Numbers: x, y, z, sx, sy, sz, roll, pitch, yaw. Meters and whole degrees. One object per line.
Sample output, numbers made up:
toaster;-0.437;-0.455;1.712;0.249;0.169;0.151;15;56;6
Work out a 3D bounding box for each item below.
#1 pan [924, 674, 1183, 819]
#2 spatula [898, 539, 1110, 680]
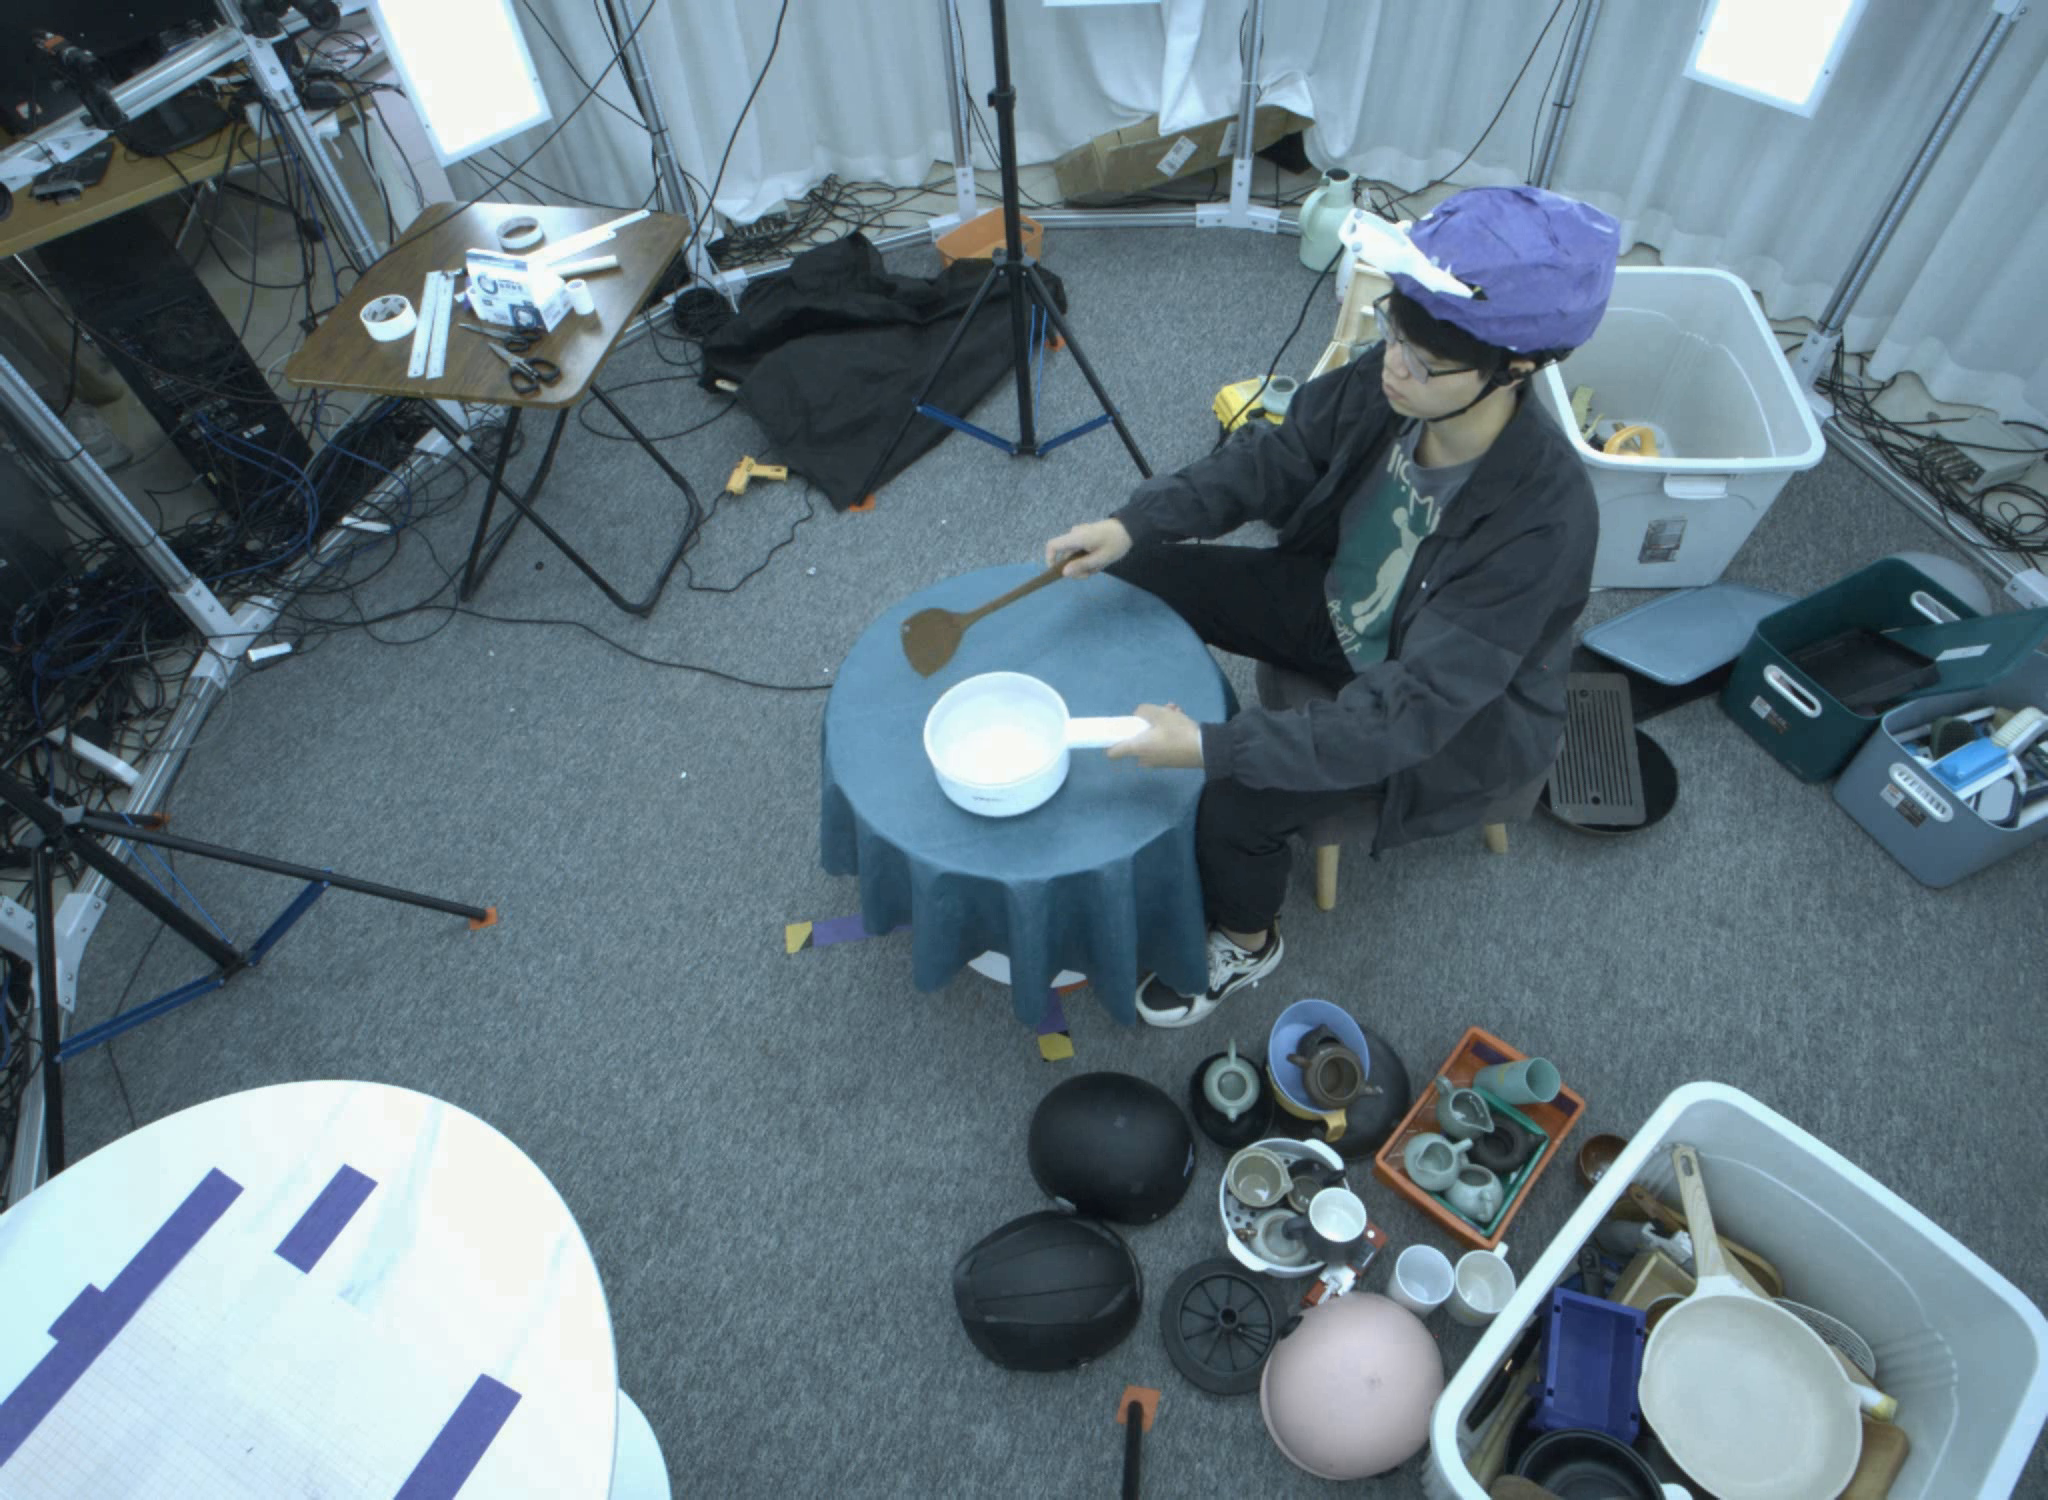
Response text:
pan;0.043;-0.001;1.714;0.354;0.103;0.199;0;53;3
spatula;-0.020;-0.227;1.829;0.389;0.097;0.015;-31;28;-22
